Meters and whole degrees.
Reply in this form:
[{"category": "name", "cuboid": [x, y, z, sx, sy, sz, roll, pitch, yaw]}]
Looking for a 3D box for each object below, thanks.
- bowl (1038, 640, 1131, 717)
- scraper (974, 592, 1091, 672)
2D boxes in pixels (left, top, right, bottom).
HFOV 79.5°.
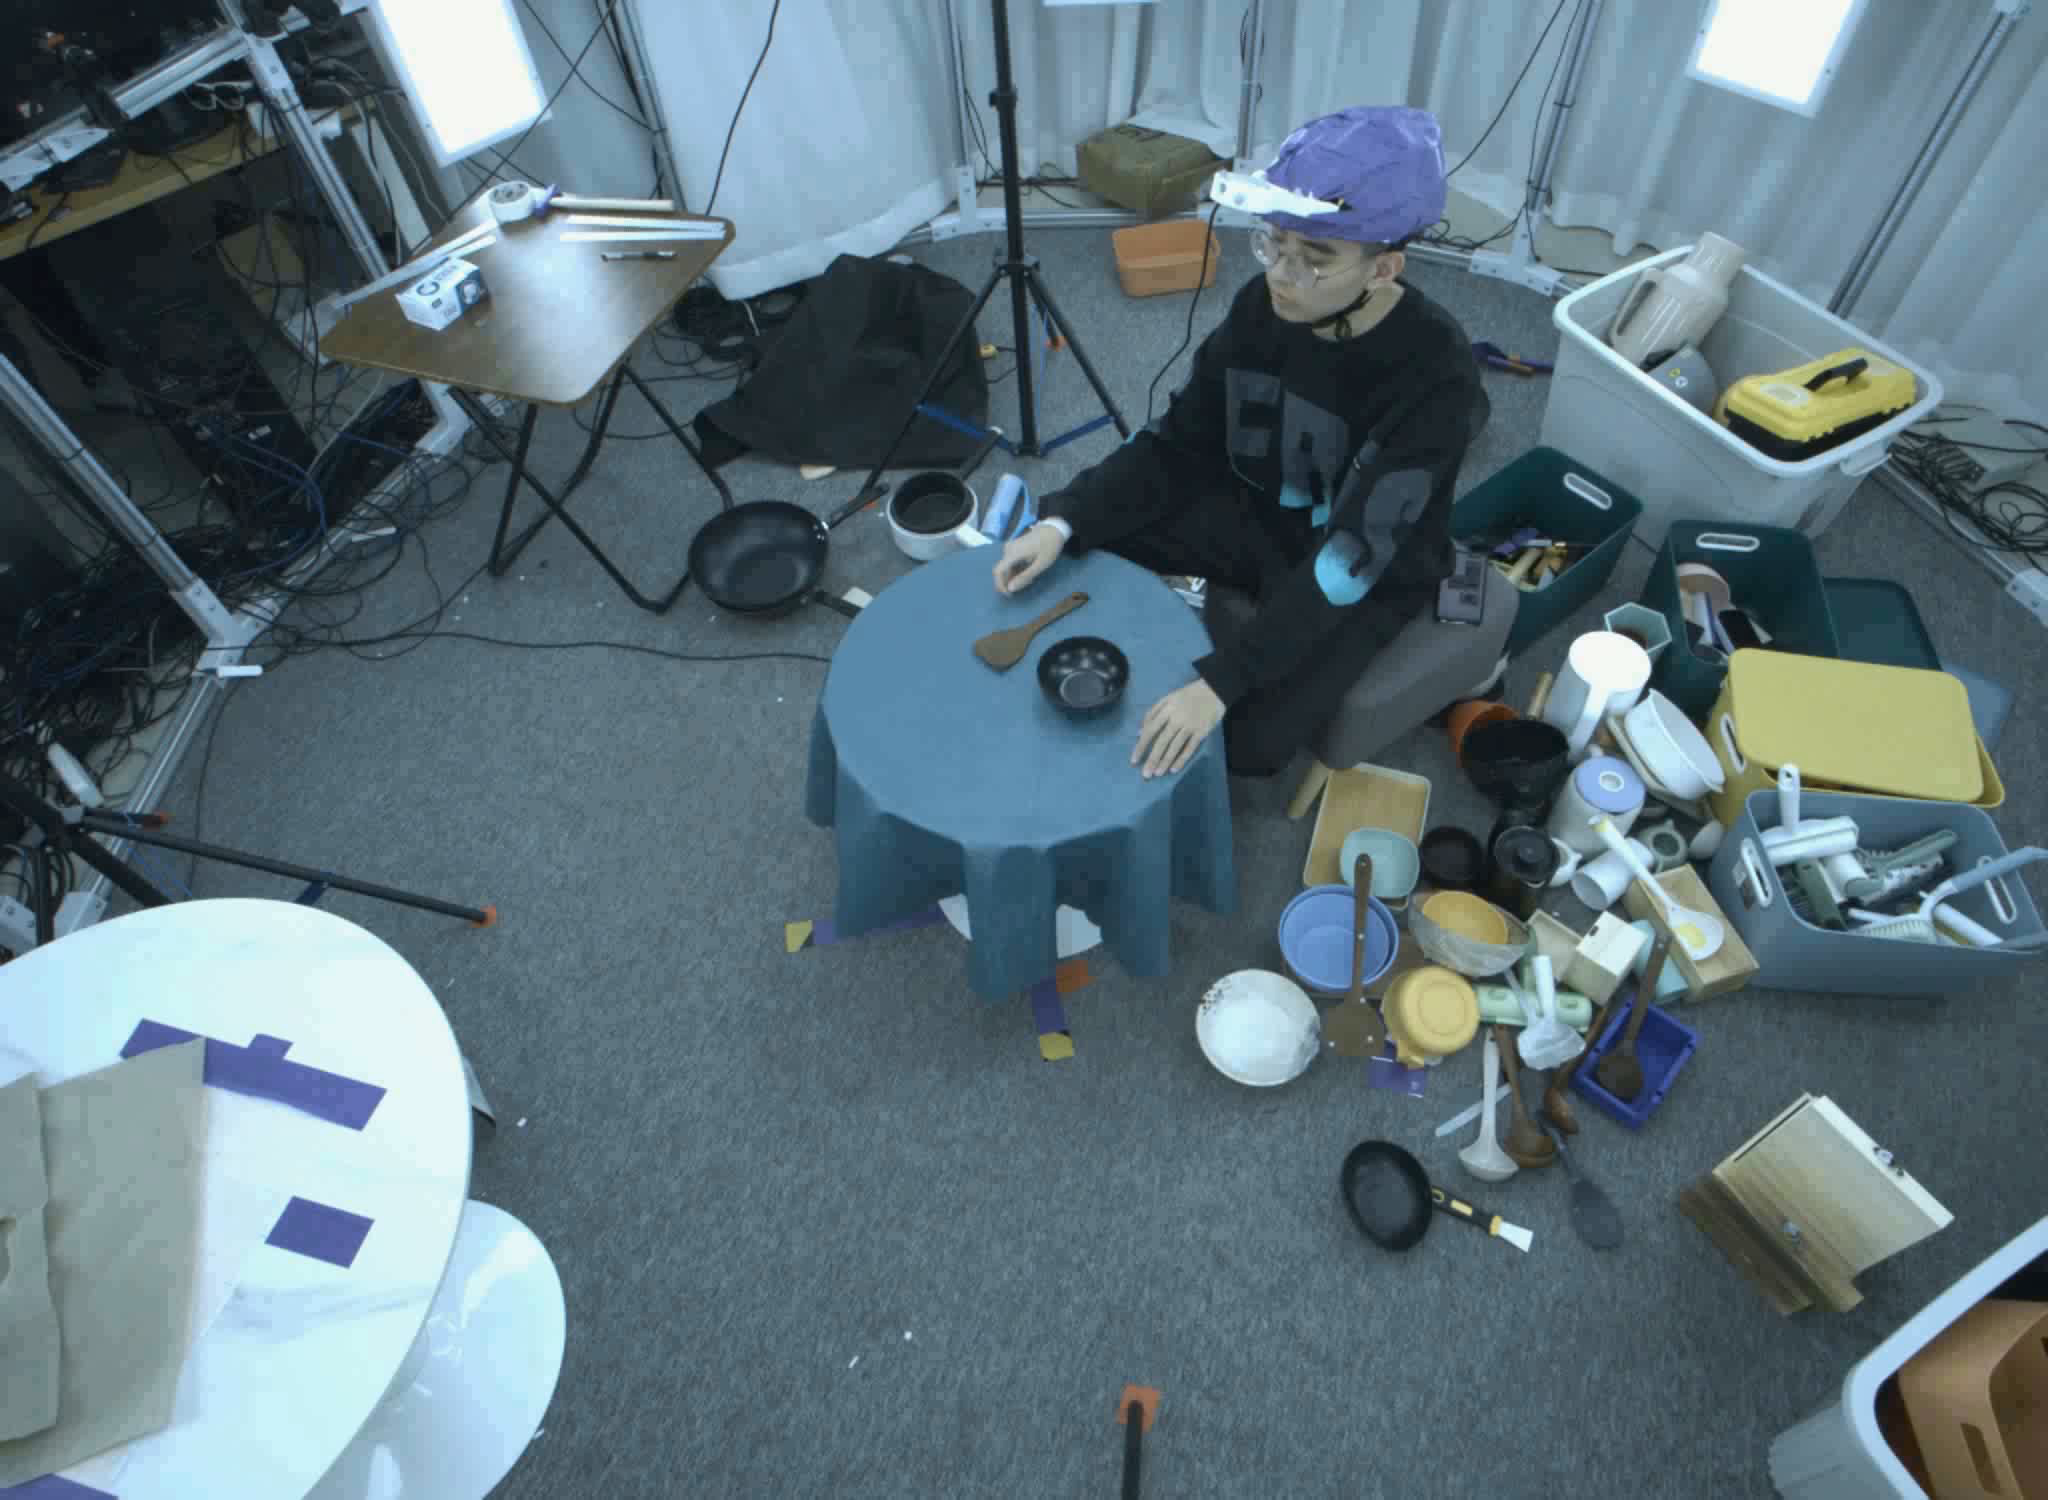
[{"category": "bowl", "cuboid": [0.091, -0.097, 1.834, 0.140, 0.050, 0.138, -1, 52, 3]}, {"category": "scraper", "cuboid": [0.020, -0.191, 1.927, 0.213, 0.011, 0.074, -35, 62, -22]}]
